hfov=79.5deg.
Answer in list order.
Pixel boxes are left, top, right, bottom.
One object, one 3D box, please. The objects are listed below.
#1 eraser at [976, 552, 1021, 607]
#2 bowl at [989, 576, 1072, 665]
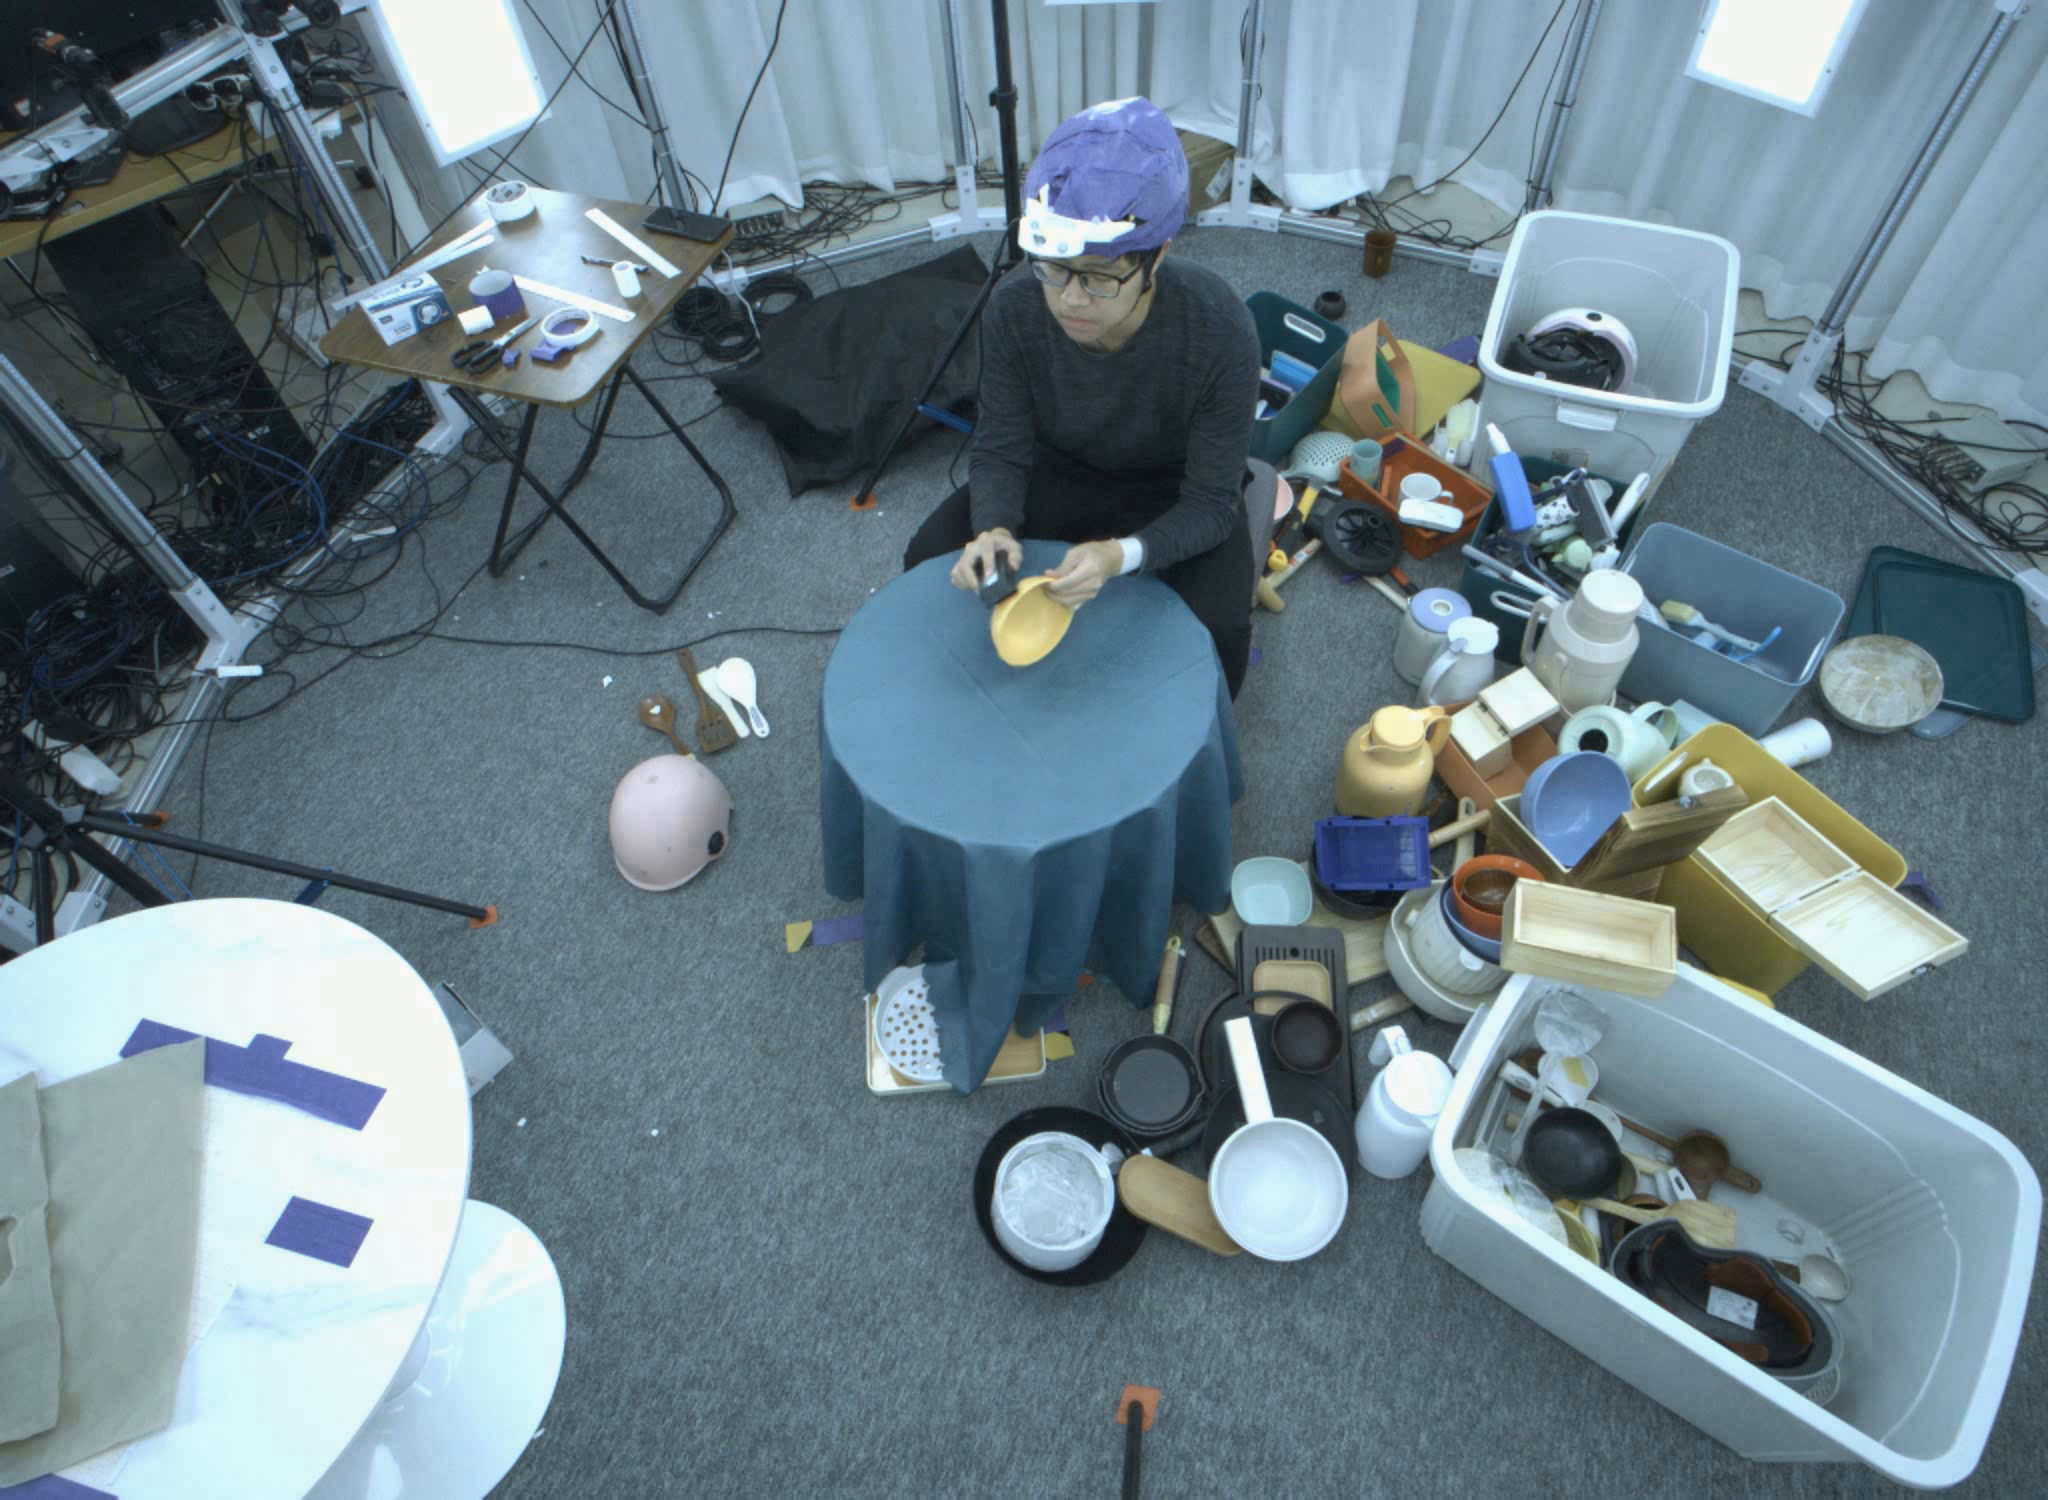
[{"bbox_3d":[-0.038,-0.248,1.770,0.053,0.031,0.124,-27,26,7],"label":"eraser"},{"bbox_3d":[-0.002,-0.200,1.800,0.146,0.147,0.059,-37,56,-20],"label":"bowl"}]
